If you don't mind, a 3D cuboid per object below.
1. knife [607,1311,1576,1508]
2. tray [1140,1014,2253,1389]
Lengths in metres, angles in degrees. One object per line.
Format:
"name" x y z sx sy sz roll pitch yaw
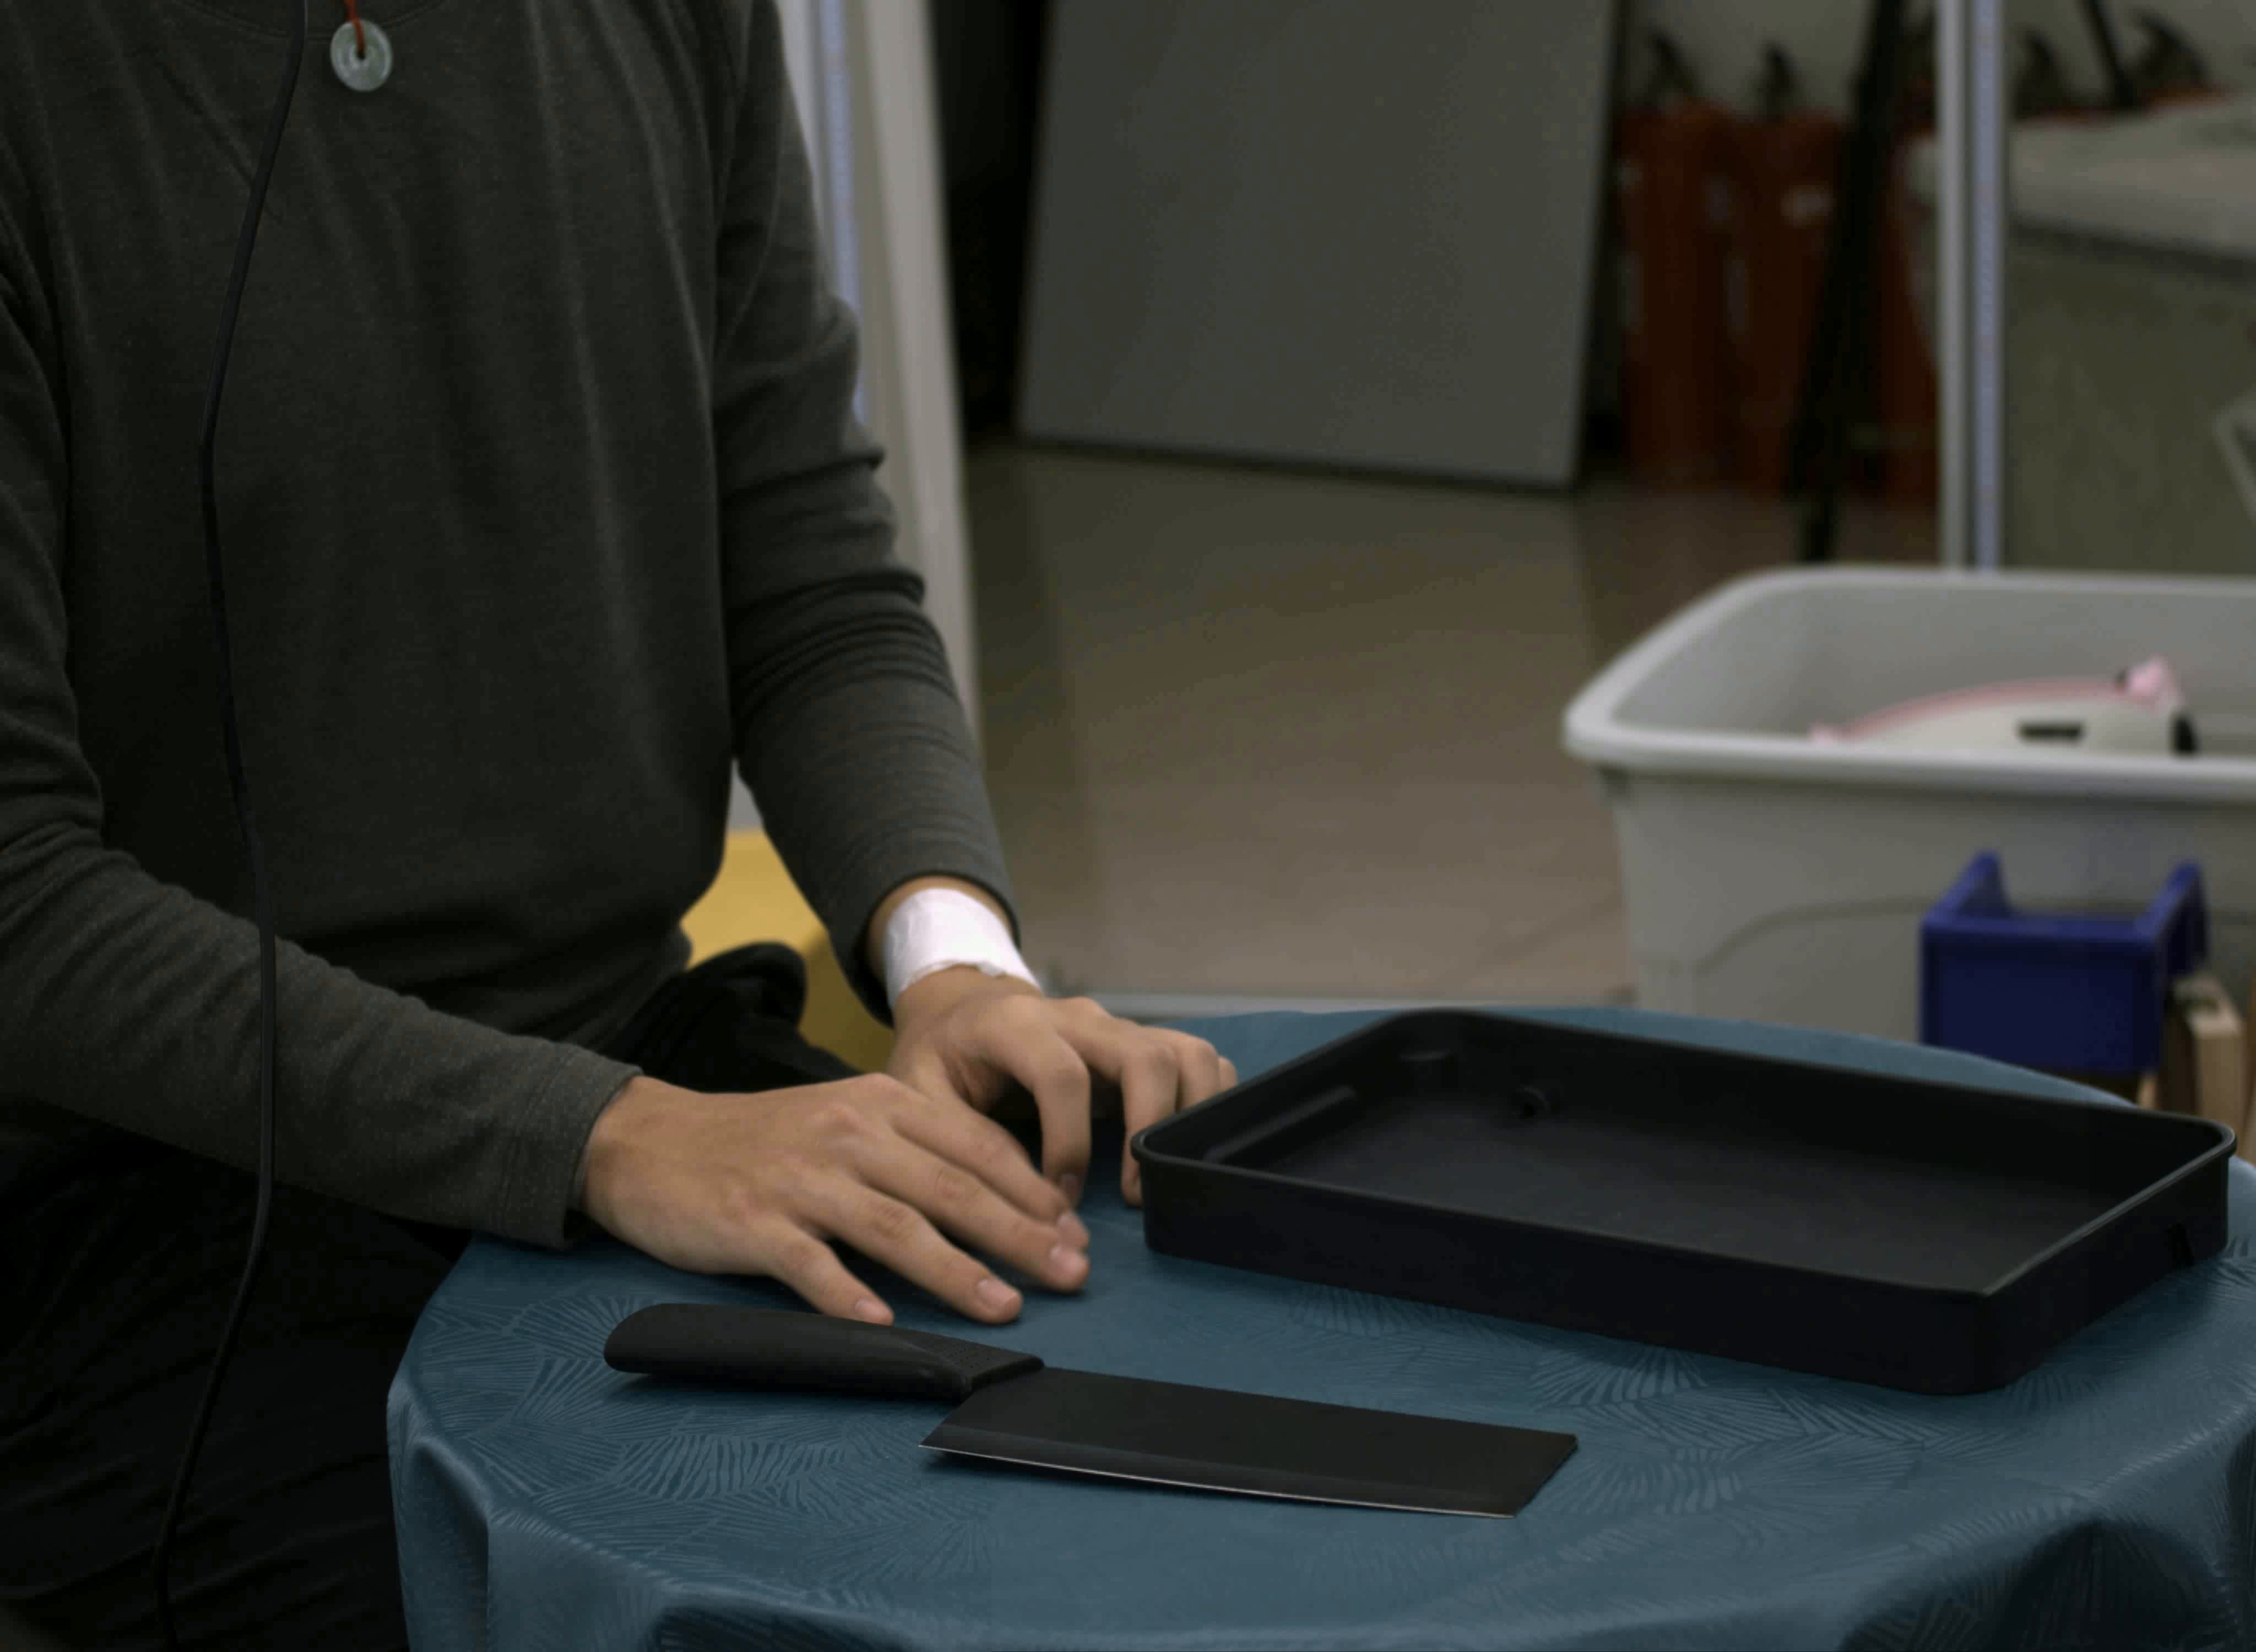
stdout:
"knife" -0.018 0.169 1.554 0.303 0.021 0.080 5 17 29
"tray" 0.175 0.113 1.681 0.320 0.037 0.181 5 17 36
